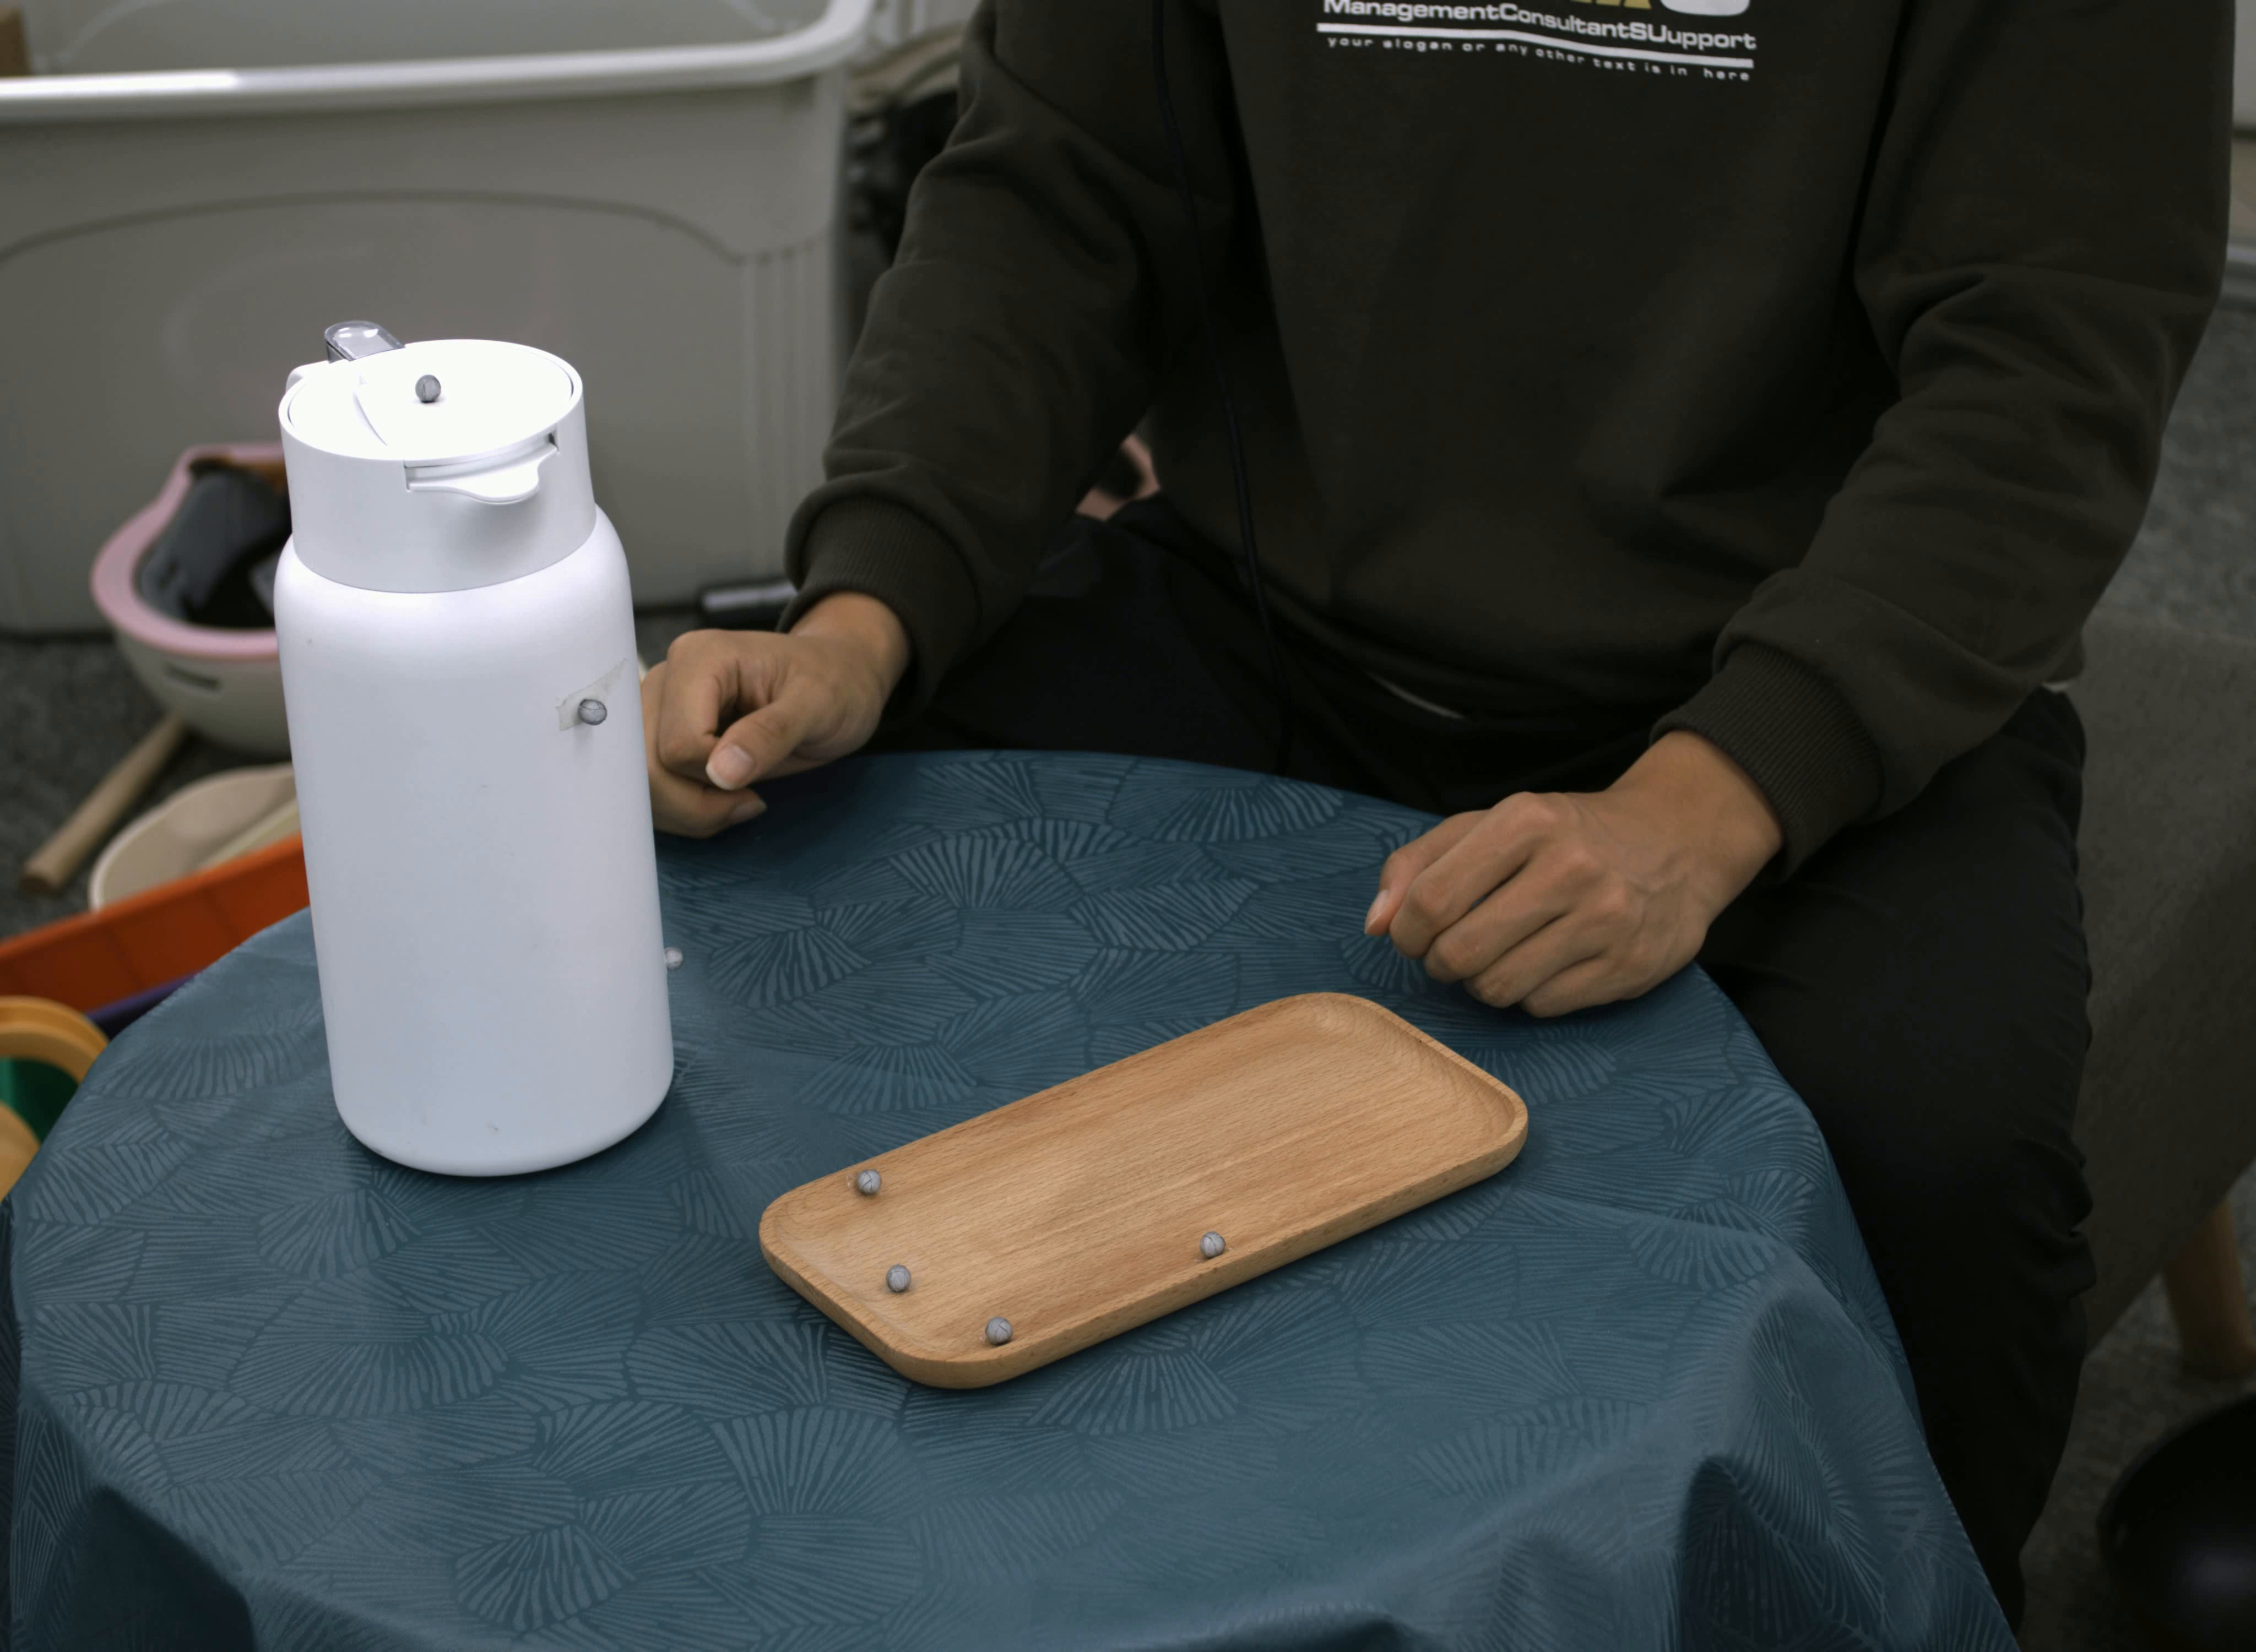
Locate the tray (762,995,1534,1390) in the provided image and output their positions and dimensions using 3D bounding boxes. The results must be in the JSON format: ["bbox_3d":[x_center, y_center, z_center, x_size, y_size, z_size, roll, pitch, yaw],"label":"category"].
[{"bbox_3d":[0.008,0.119,1.853,0.252,0.022,0.131,-19,34,-30],"label":"tray"}]

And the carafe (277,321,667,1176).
[{"bbox_3d":[-0.229,-0.029,1.890,0.124,0.266,0.173,-17,30,-24],"label":"carafe"}]
